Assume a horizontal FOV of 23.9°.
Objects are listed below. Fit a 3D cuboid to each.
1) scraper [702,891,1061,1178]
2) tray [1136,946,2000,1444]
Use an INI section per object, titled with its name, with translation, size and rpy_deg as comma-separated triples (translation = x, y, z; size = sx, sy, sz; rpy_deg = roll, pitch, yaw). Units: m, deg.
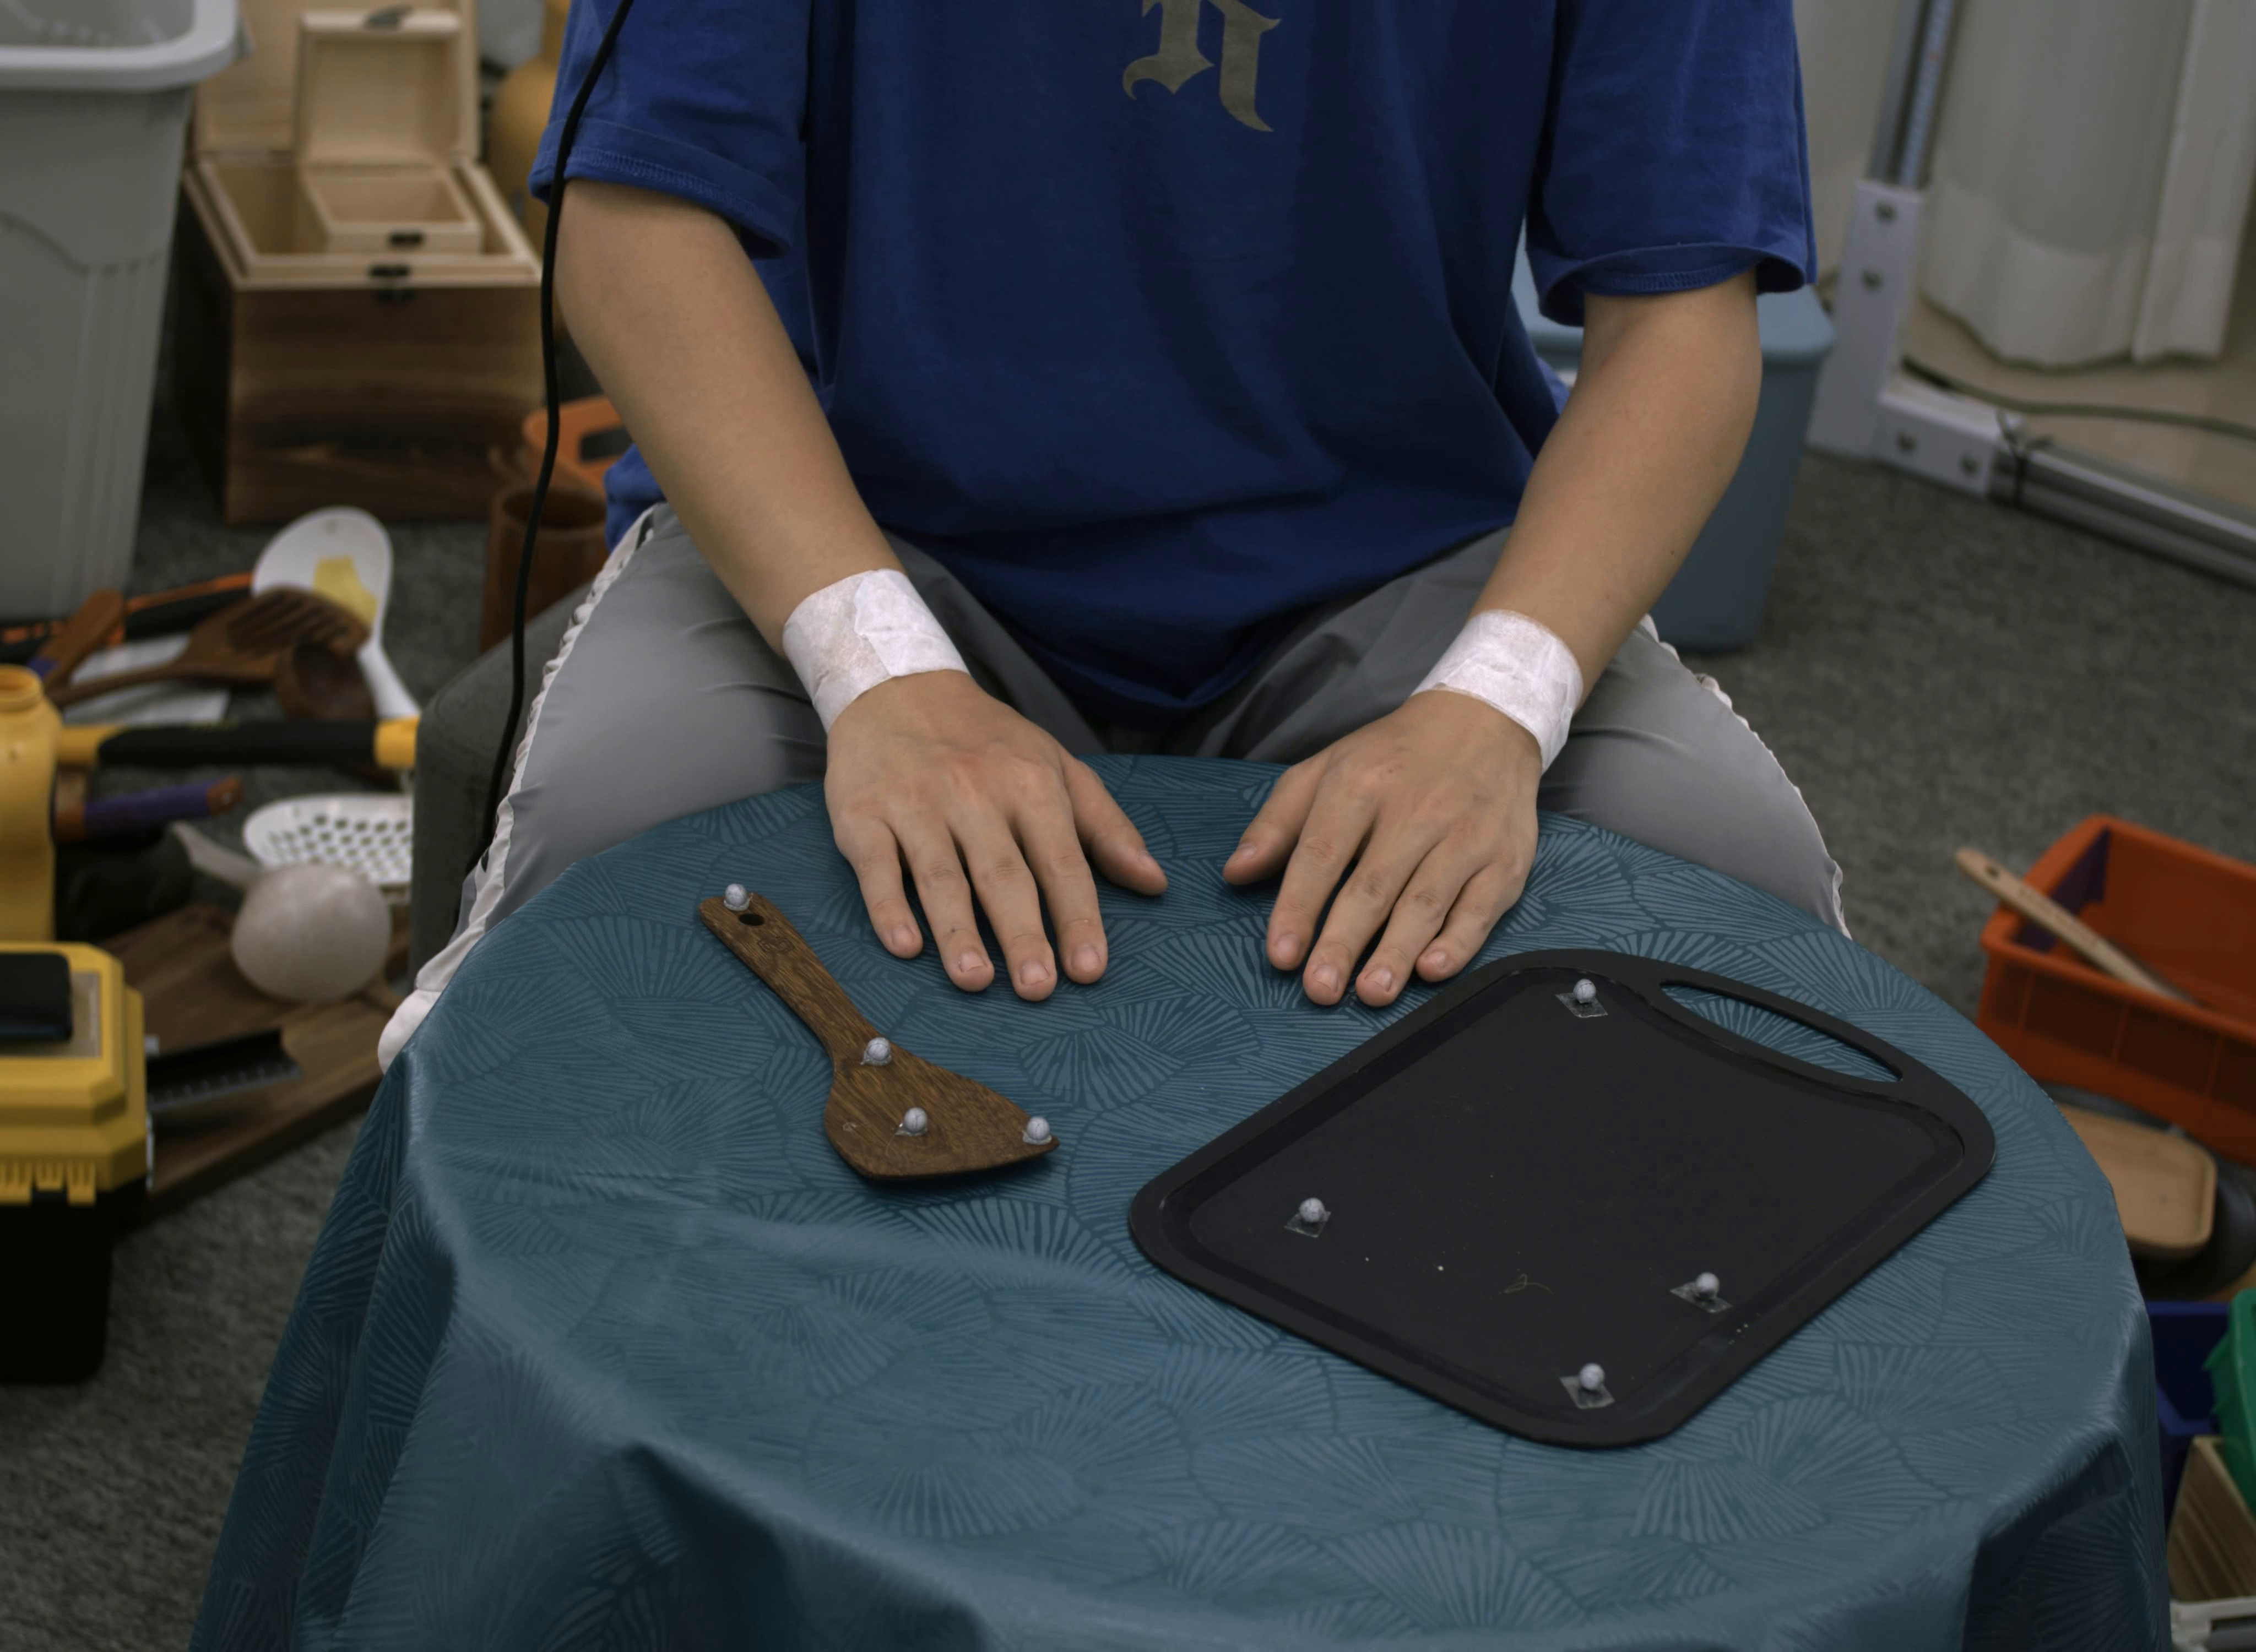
[scraper]
translation = -0.099, 0.072, 1.873
size = 0.075, 0.011, 0.213
rpy_deg = -7, 29, -27
[tray]
translation = 0.160, 0.117, 1.846
size = 0.212, 0.010, 0.324
rpy_deg = 23, 31, 29
